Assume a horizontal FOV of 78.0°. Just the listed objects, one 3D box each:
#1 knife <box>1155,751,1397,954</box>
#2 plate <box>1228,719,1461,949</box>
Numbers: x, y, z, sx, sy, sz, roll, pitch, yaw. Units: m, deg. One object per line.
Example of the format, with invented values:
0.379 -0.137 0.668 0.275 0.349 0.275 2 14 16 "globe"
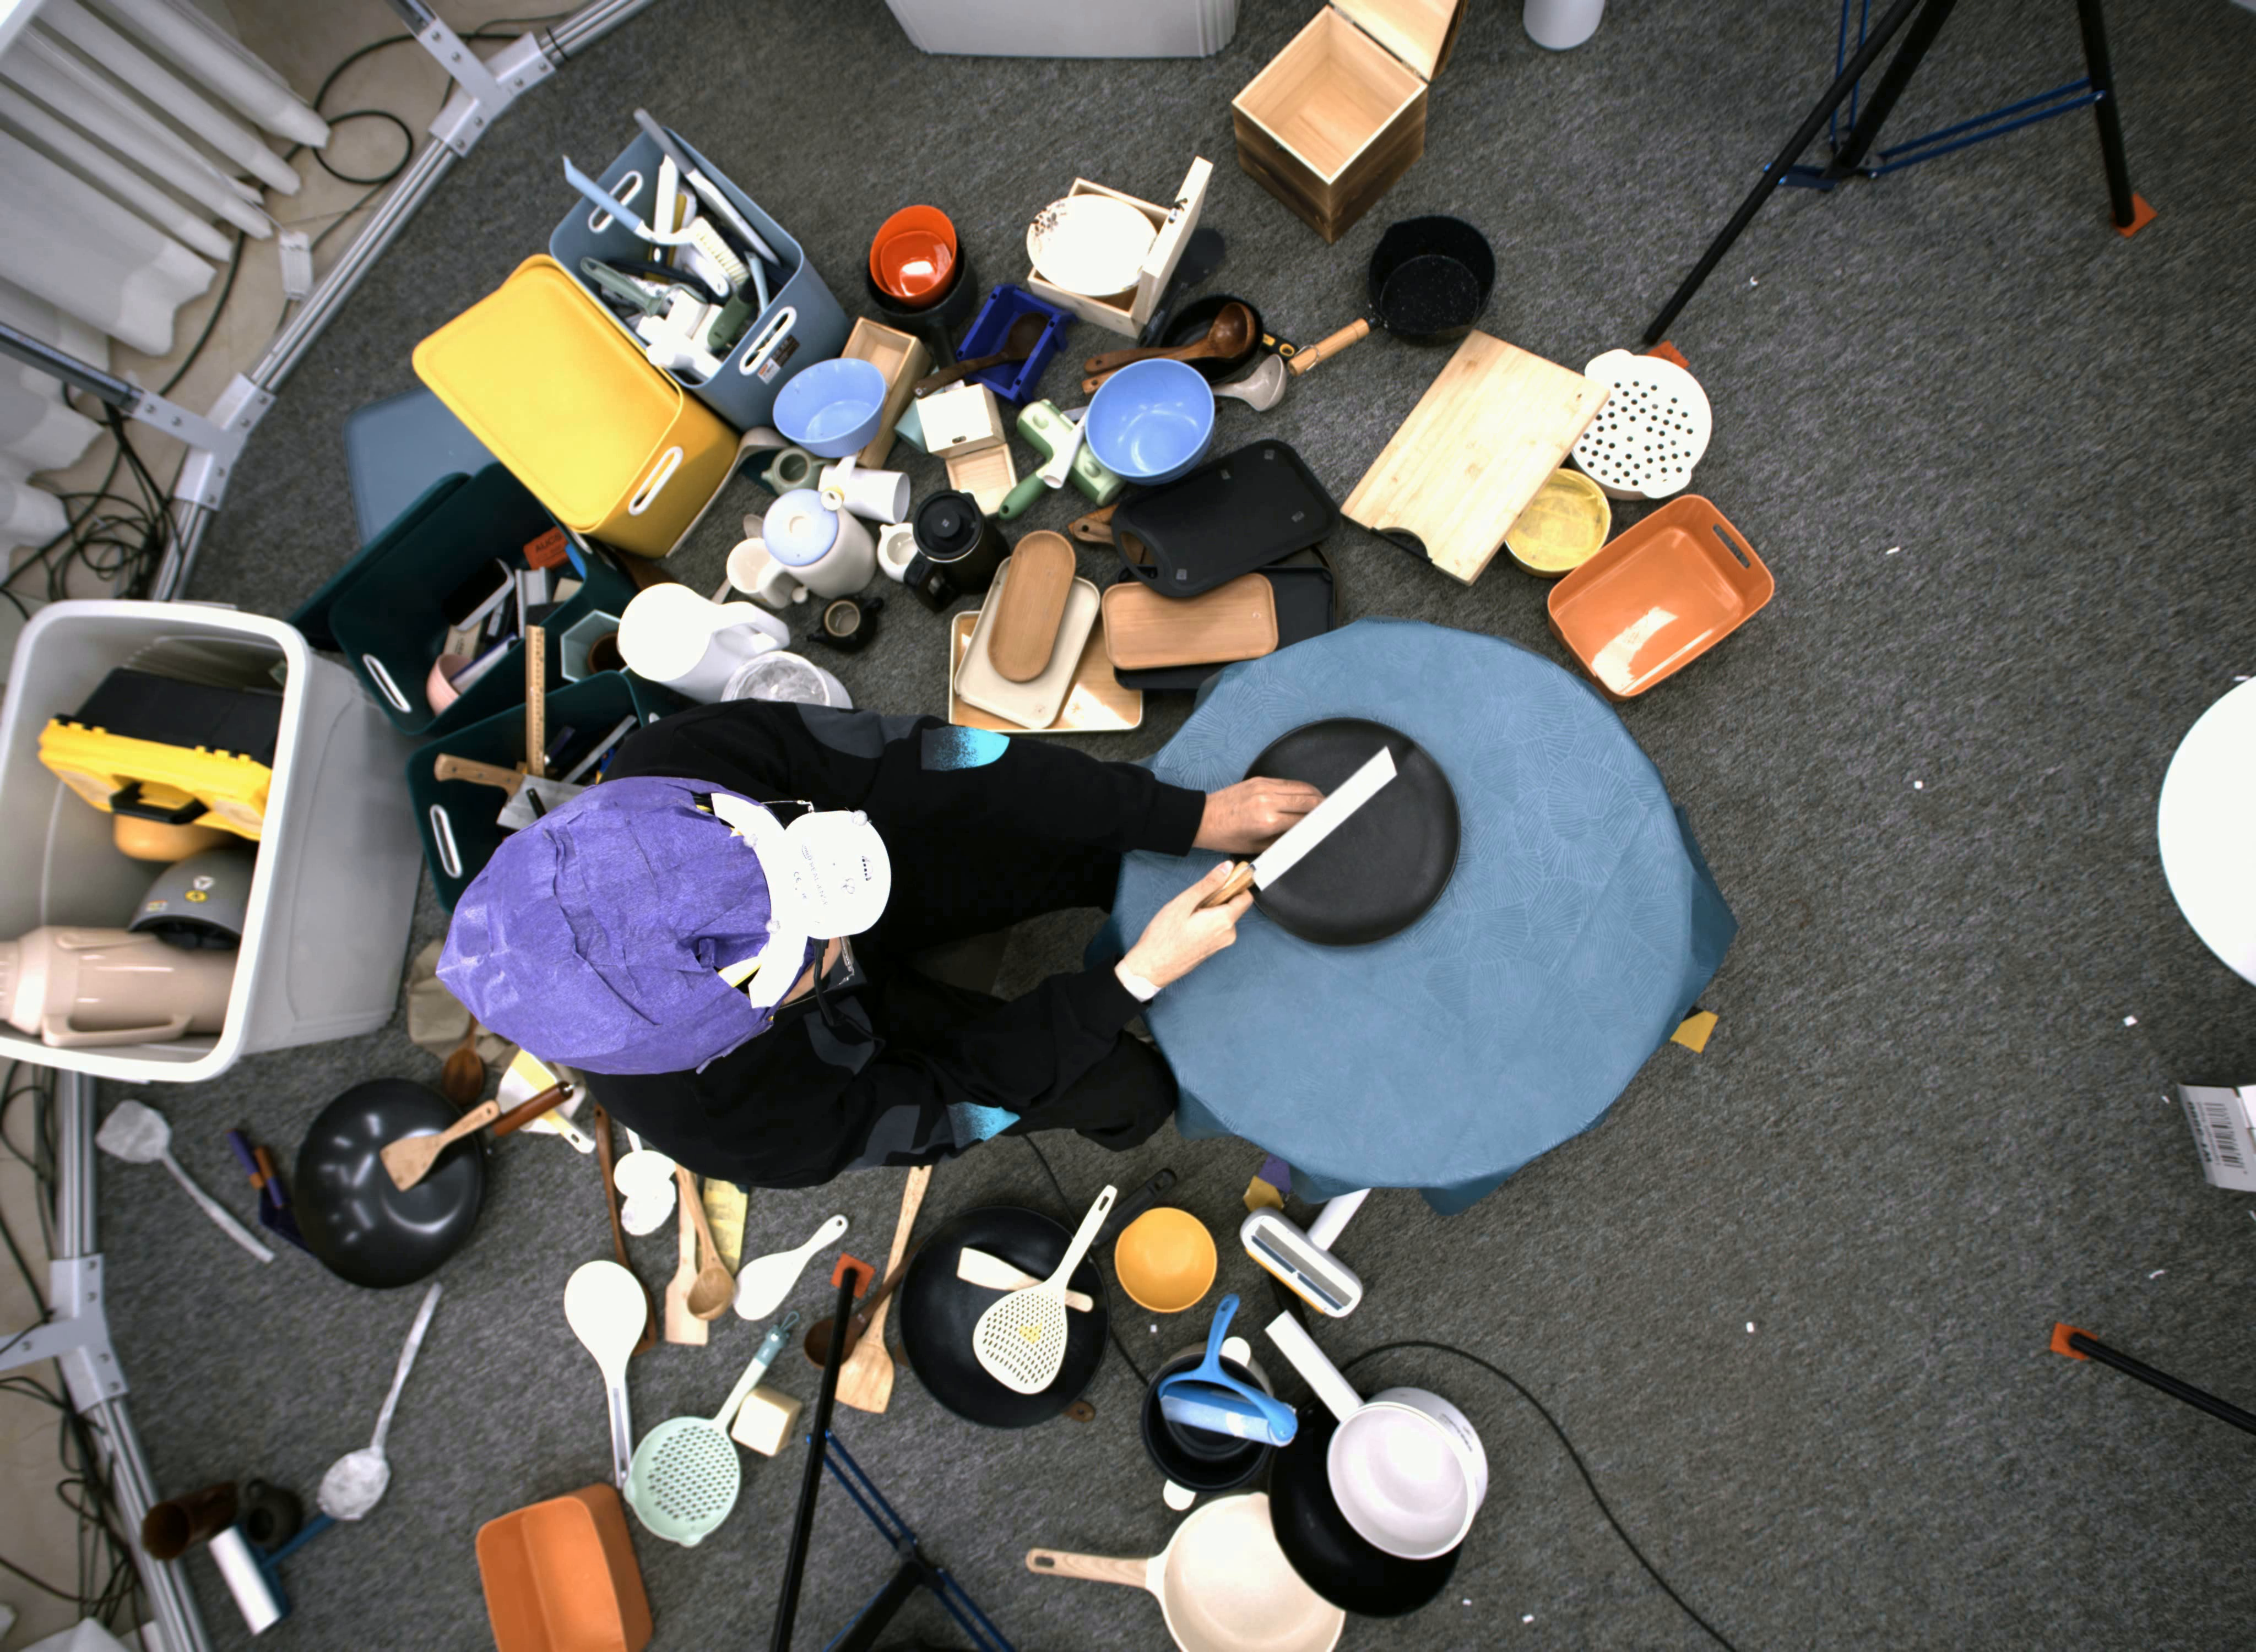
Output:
0.157 0.032 1.421 0.307 0.093 0.021 -40 67 5 "knife"
0.228 0.007 1.459 0.245 0.023 0.243 -1 87 10 "plate"
